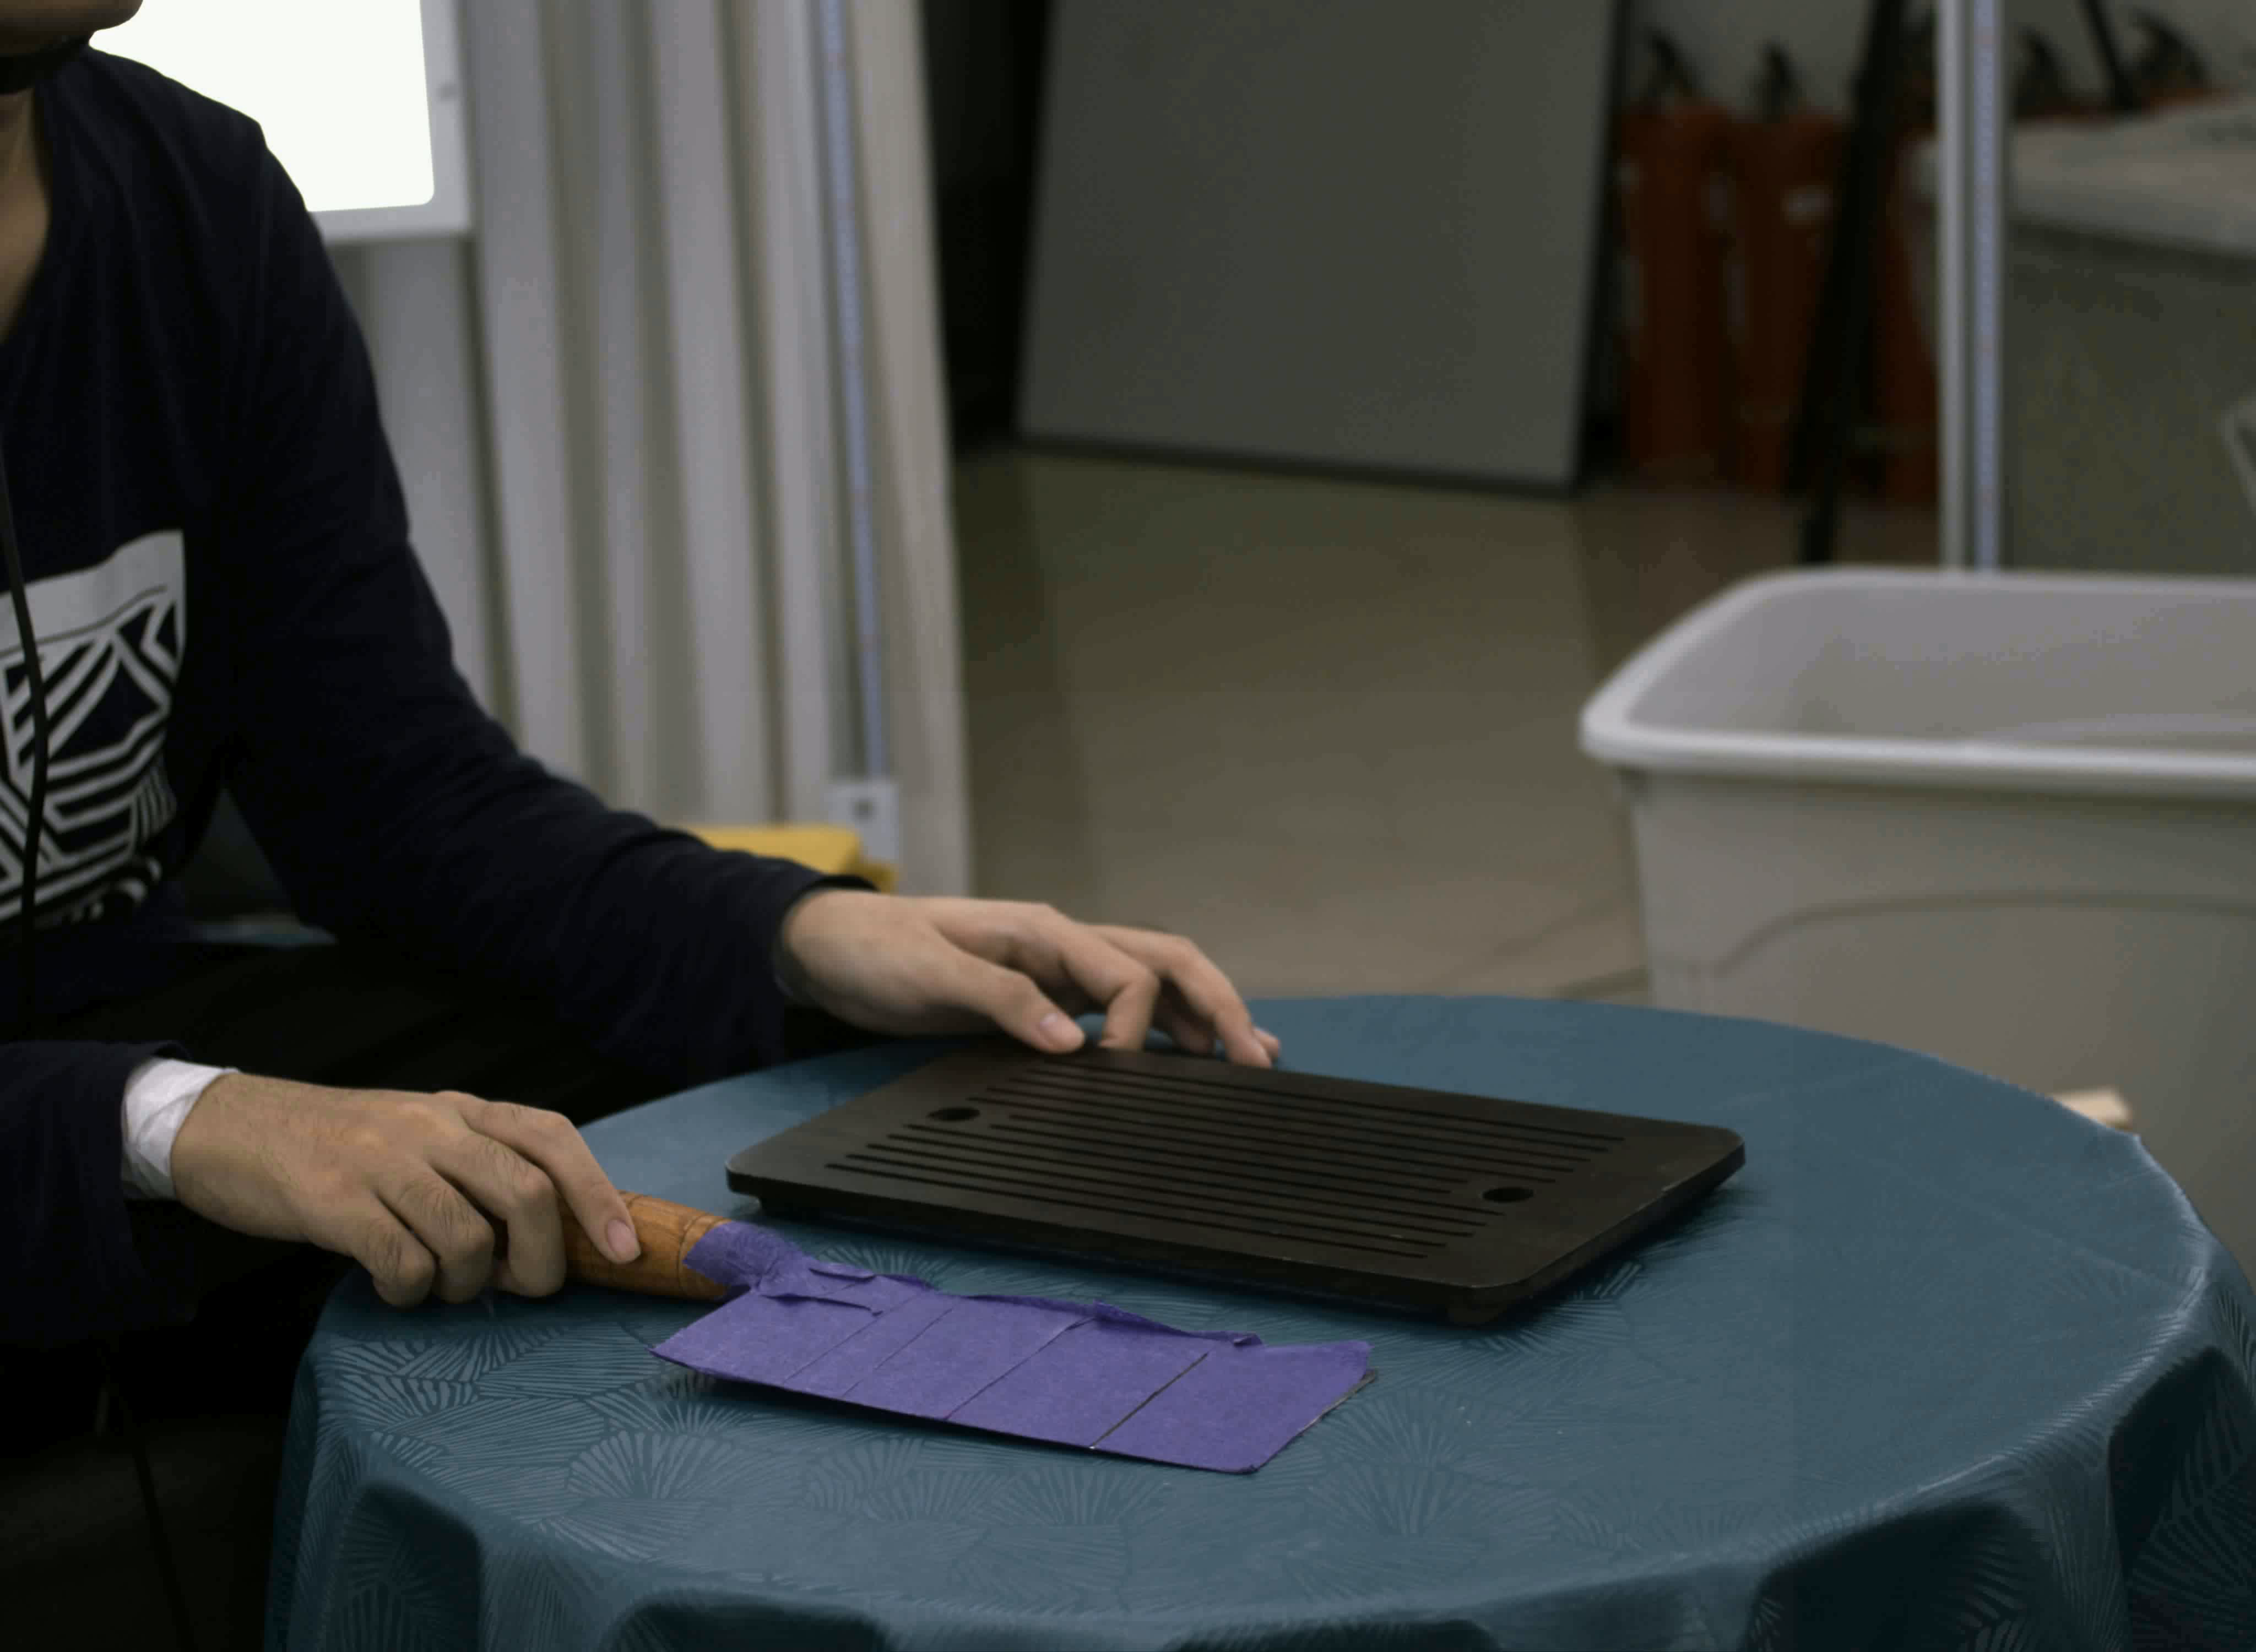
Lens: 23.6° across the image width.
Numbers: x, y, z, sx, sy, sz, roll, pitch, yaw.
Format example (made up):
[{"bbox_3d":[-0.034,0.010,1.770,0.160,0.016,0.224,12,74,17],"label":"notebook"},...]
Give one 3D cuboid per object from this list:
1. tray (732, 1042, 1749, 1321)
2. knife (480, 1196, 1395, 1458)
[{"bbox_3d":[0.035,0.113,1.759,0.308,0.019,0.167,5,16,35],"label":"tray"},{"bbox_3d":[-0.078,0.150,1.624,0.316,0.032,0.102,4,15,30],"label":"knife"}]
